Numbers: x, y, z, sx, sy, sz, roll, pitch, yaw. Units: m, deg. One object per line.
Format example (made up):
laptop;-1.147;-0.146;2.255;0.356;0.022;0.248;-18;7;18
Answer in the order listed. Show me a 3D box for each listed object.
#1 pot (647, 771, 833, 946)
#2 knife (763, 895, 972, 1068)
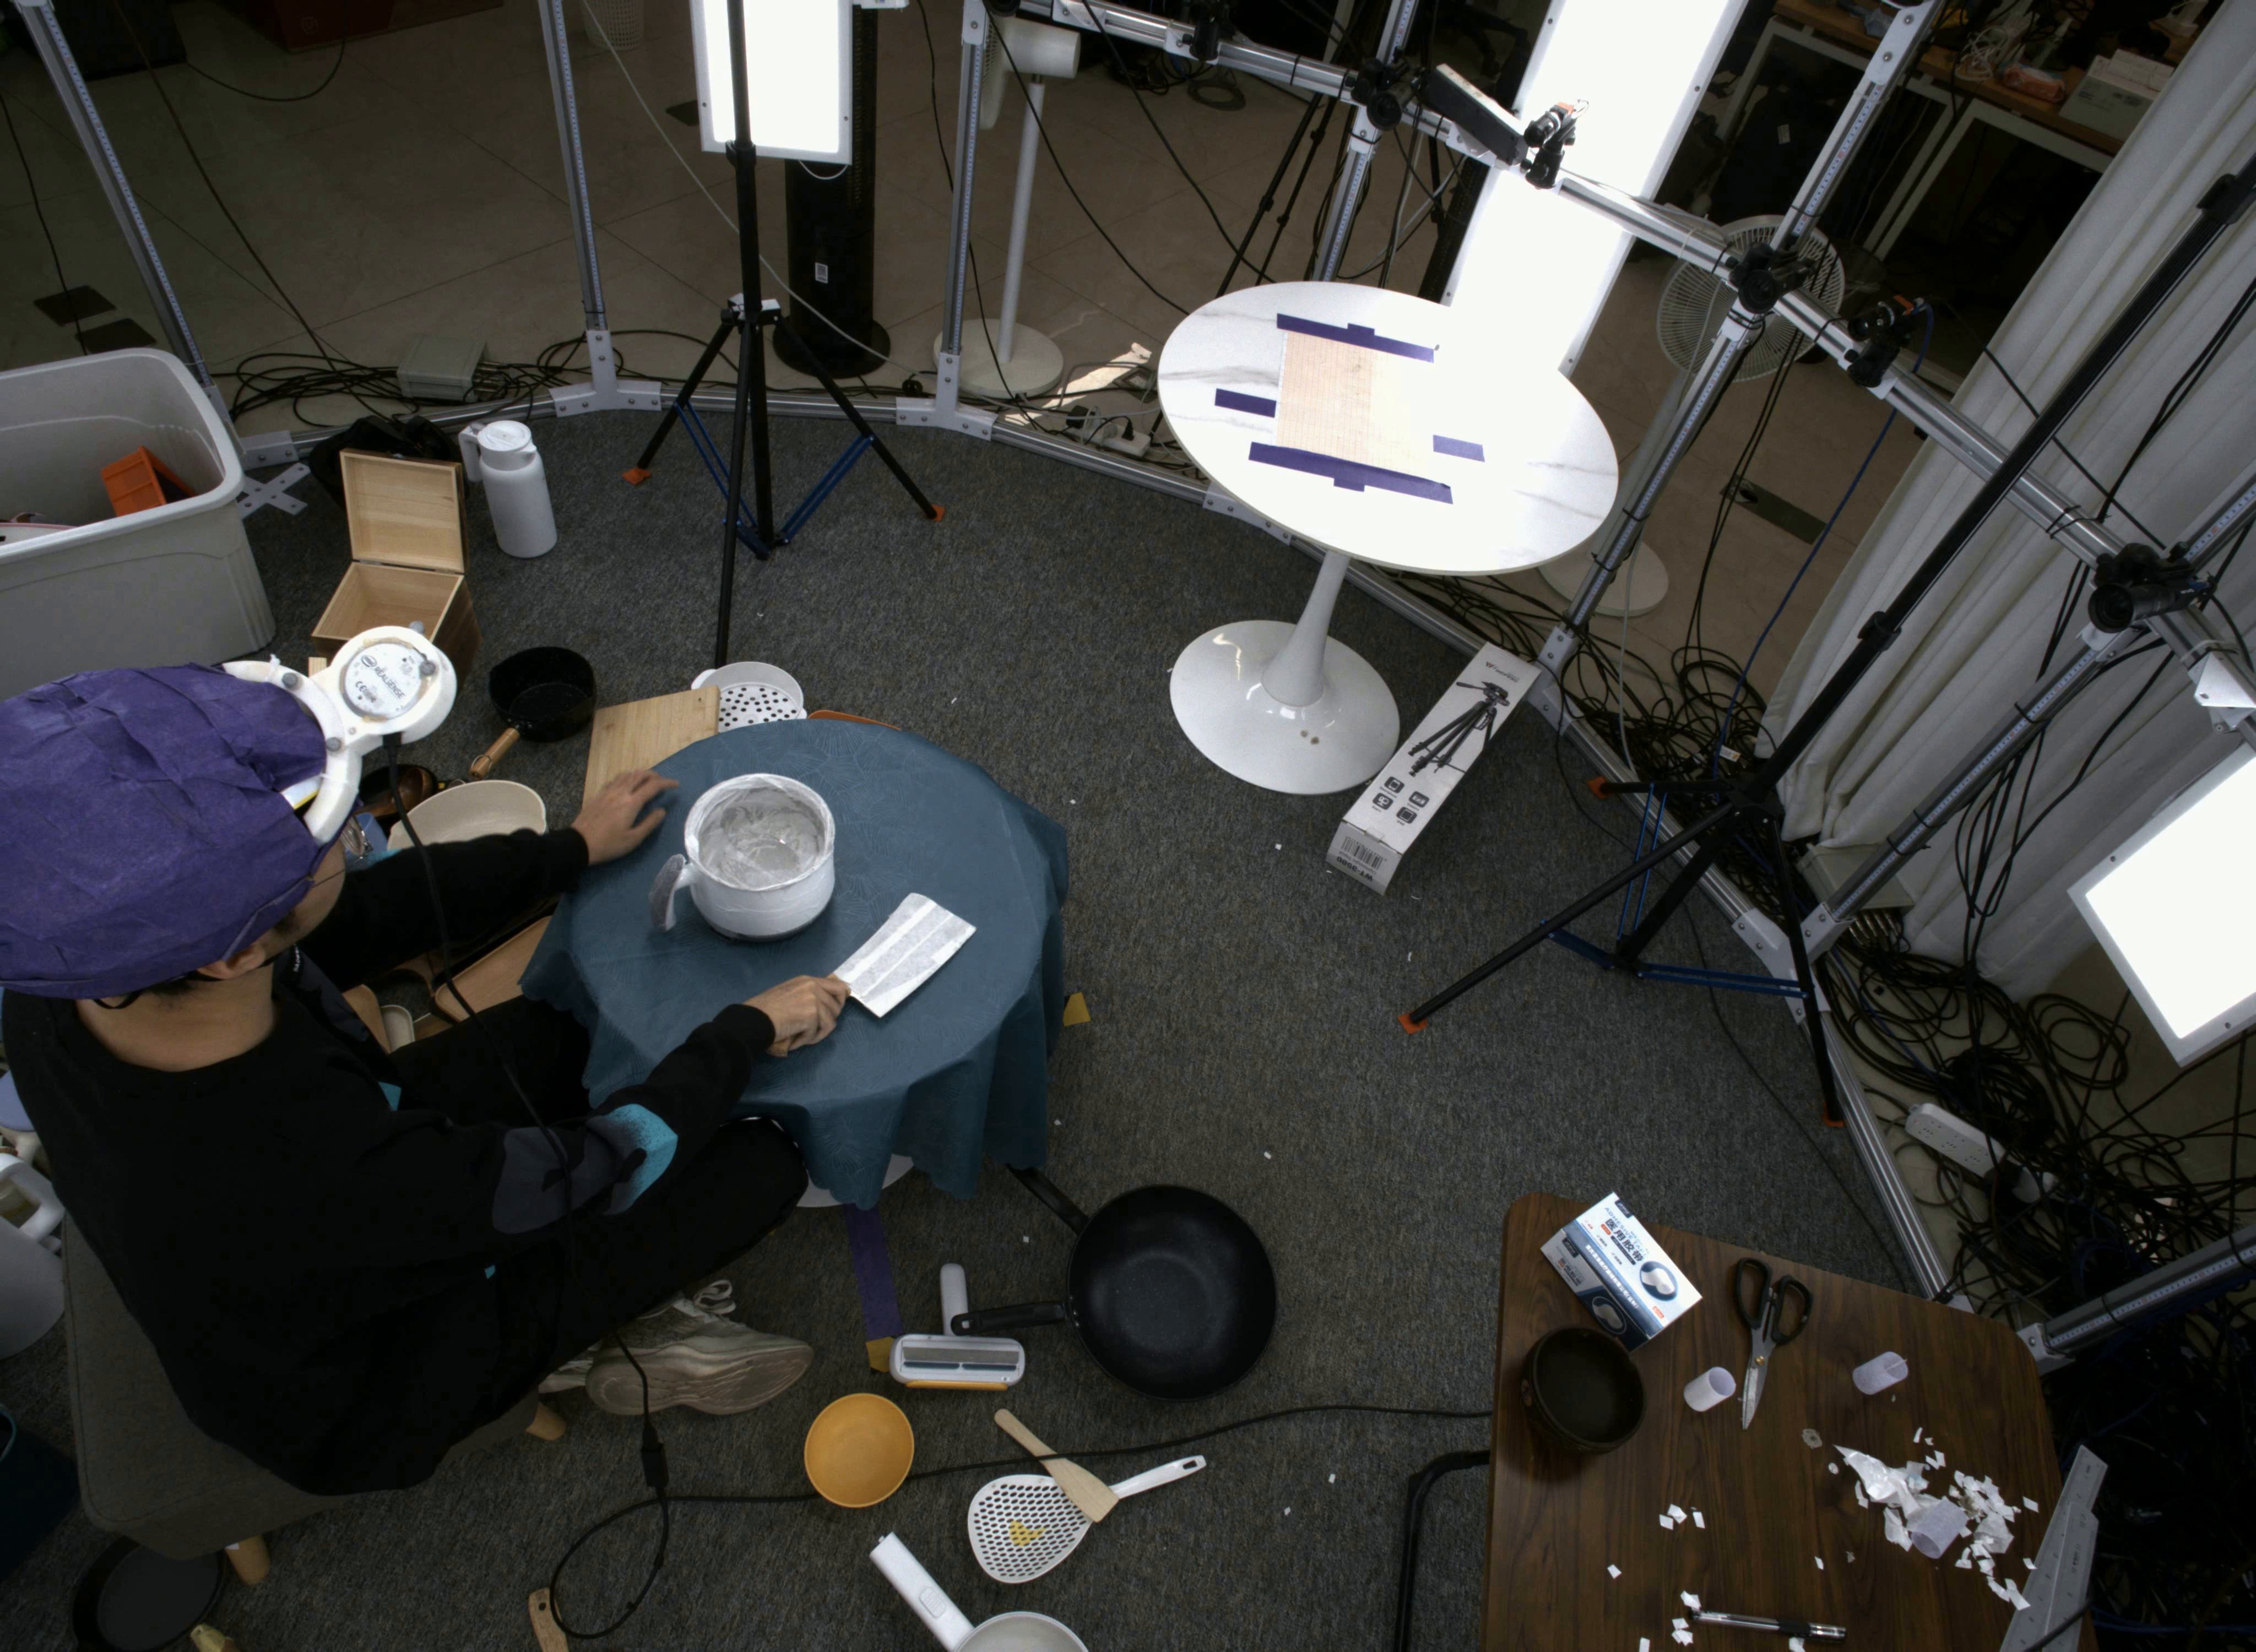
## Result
pot;-0.473;0.052;1.573;0.235;0.139;0.174;-24;61;-29
knife;-0.320;0.184;1.584;0.111;0.022;0.315;37;48;14
